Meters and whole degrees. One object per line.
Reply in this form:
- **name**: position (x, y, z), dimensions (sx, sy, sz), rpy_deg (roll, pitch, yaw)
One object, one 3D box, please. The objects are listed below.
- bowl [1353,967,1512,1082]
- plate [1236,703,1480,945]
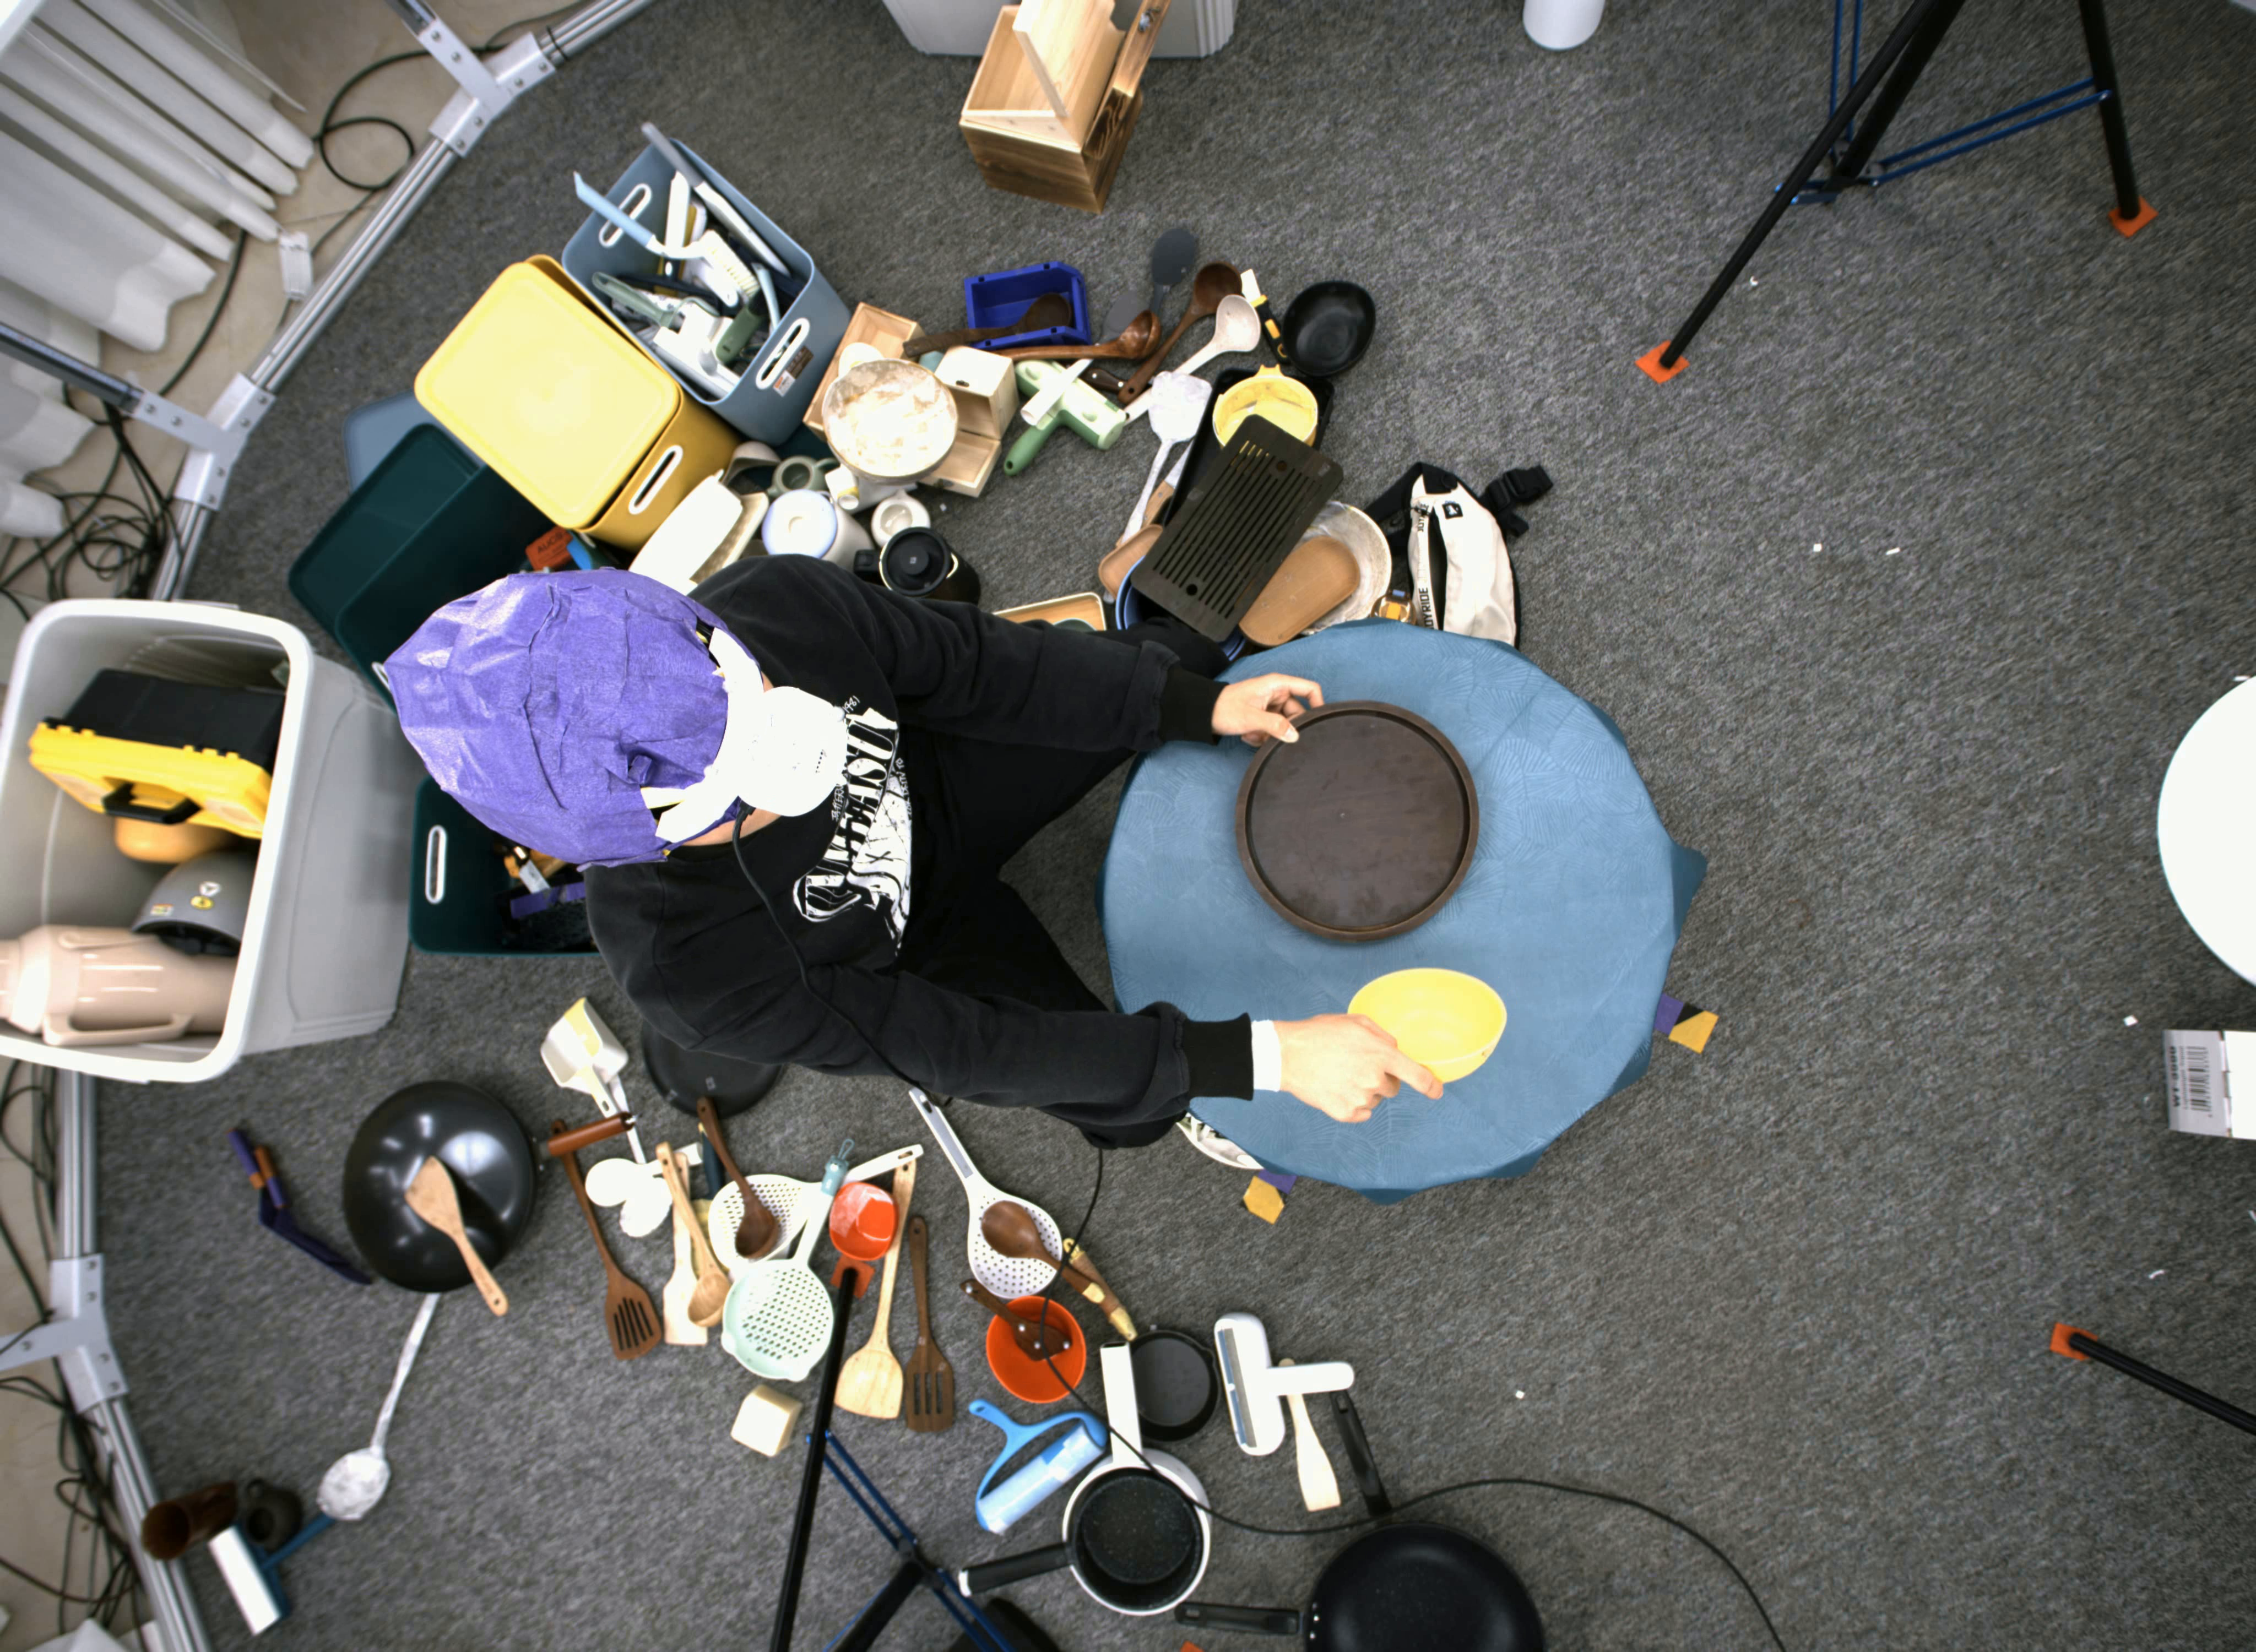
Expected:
- **bowl**: position (0.283, 0.193, 1.290), dimensions (0.146, 0.141, 0.061), rpy_deg (-1, 120, 10)
- **plate**: position (0.239, -0.003, 1.437), dimensions (0.255, 0.029, 0.257), rpy_deg (1, 100, 4)
